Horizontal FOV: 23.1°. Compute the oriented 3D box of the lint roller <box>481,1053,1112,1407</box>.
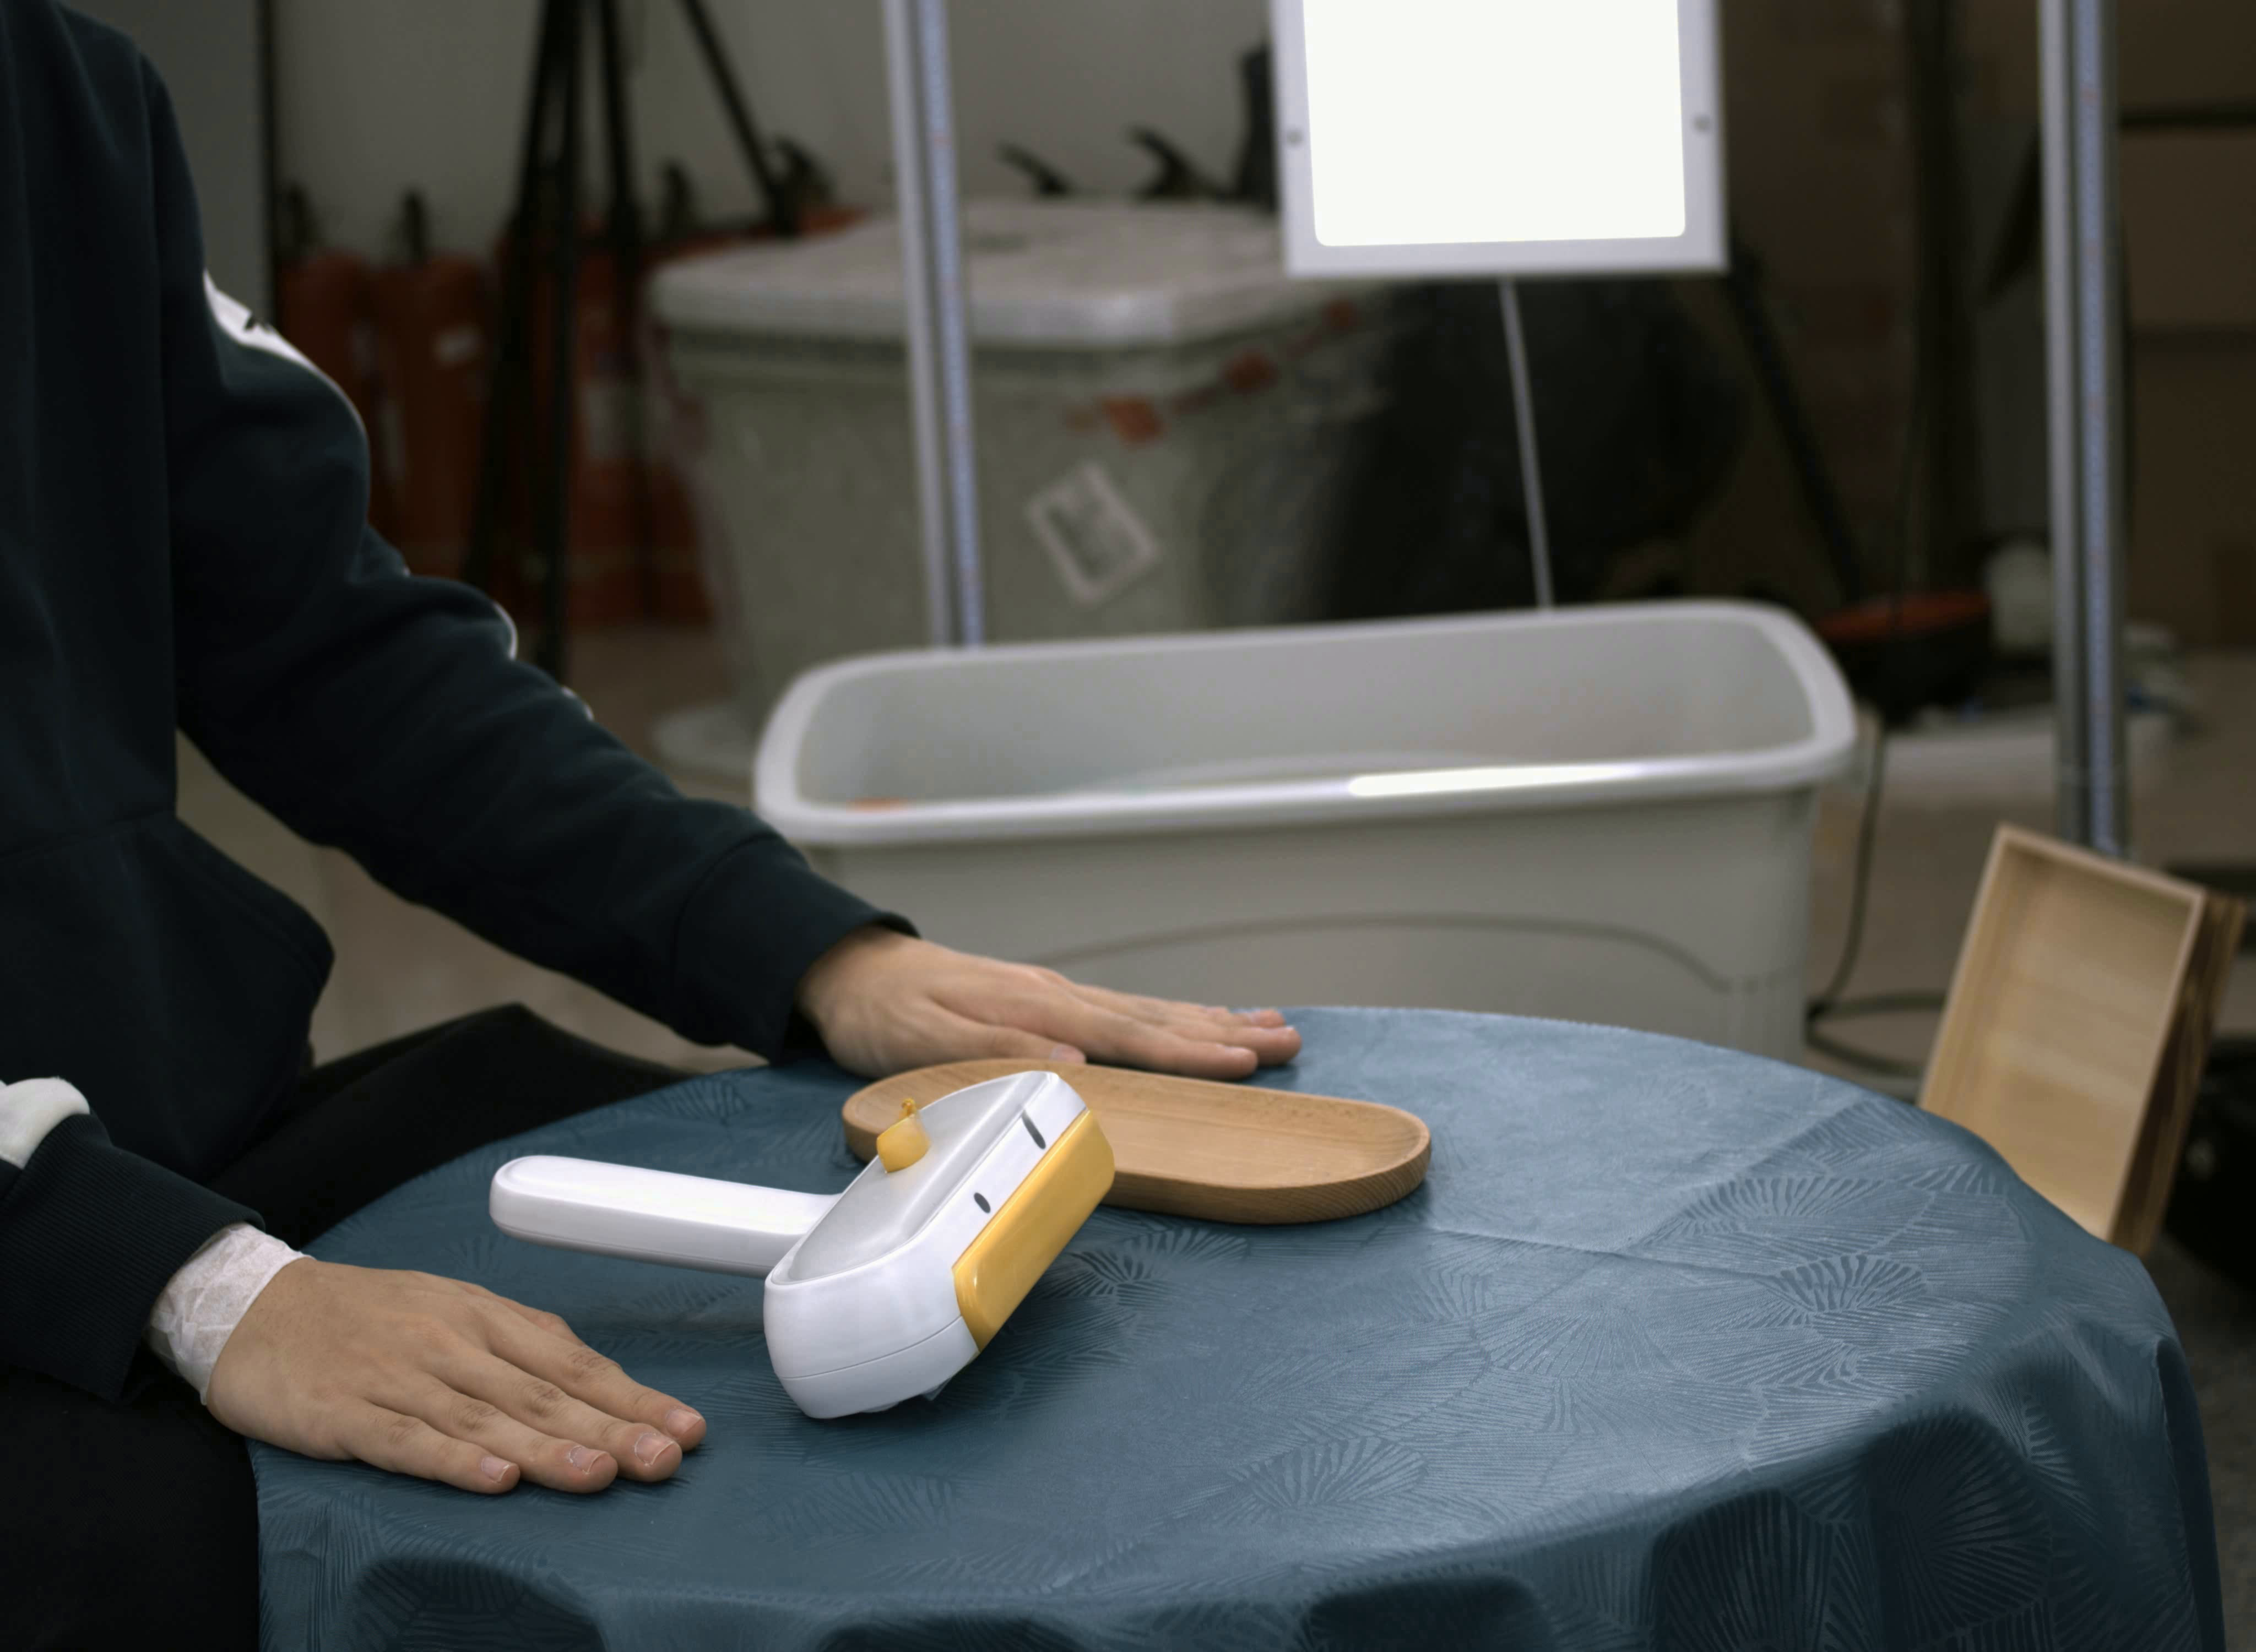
[{"bbox_3d":[-0.115,0.130,1.784,0.195,0.074,0.190,-8,20,18],"label":"lint roller"}]

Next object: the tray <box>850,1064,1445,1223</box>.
[{"bbox_3d":[0.005,0.110,1.925,0.236,0.020,0.099,6,19,36],"label":"tray"}]
